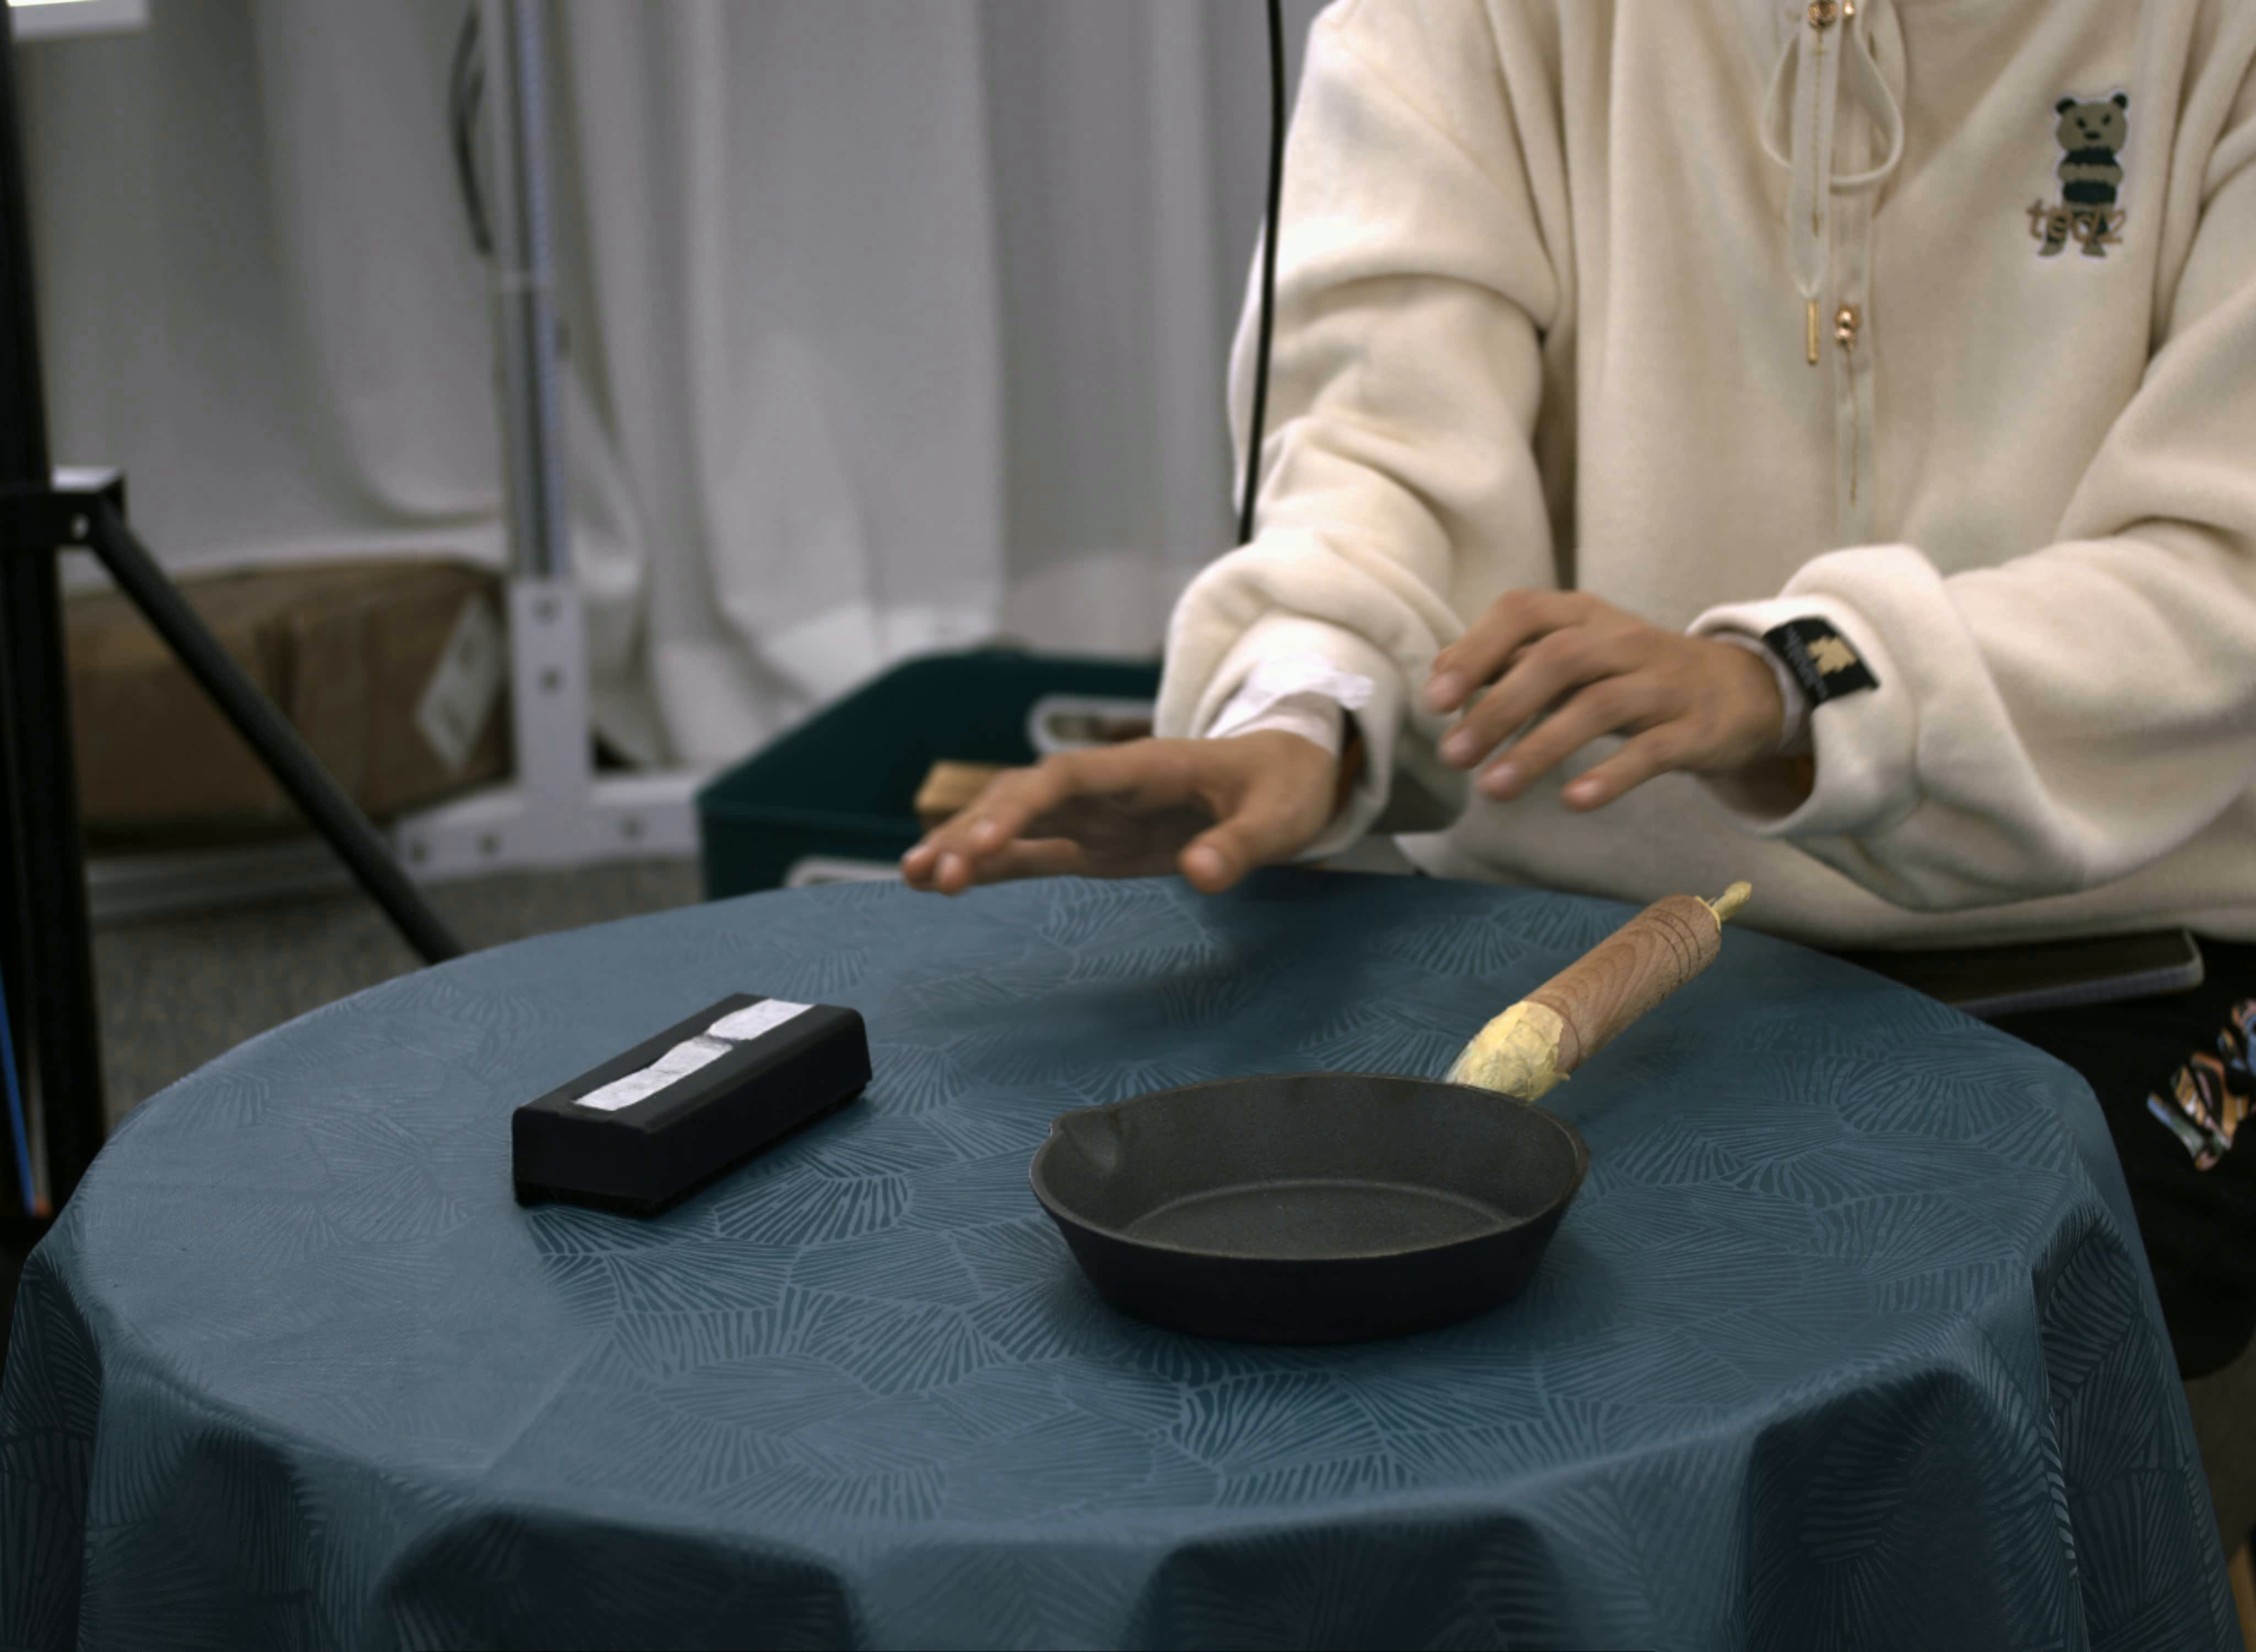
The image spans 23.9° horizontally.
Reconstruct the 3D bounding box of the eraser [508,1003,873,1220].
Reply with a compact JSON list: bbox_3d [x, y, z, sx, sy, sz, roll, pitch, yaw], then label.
[{"bbox_3d":[-0.131,0.085,1.611,0.054,0.030,0.123,7,17,29],"label":"eraser"}]

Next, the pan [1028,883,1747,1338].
[{"bbox_3d":[0.100,0.080,1.547,0.172,0.049,0.317,8,19,36],"label":"pan"}]
